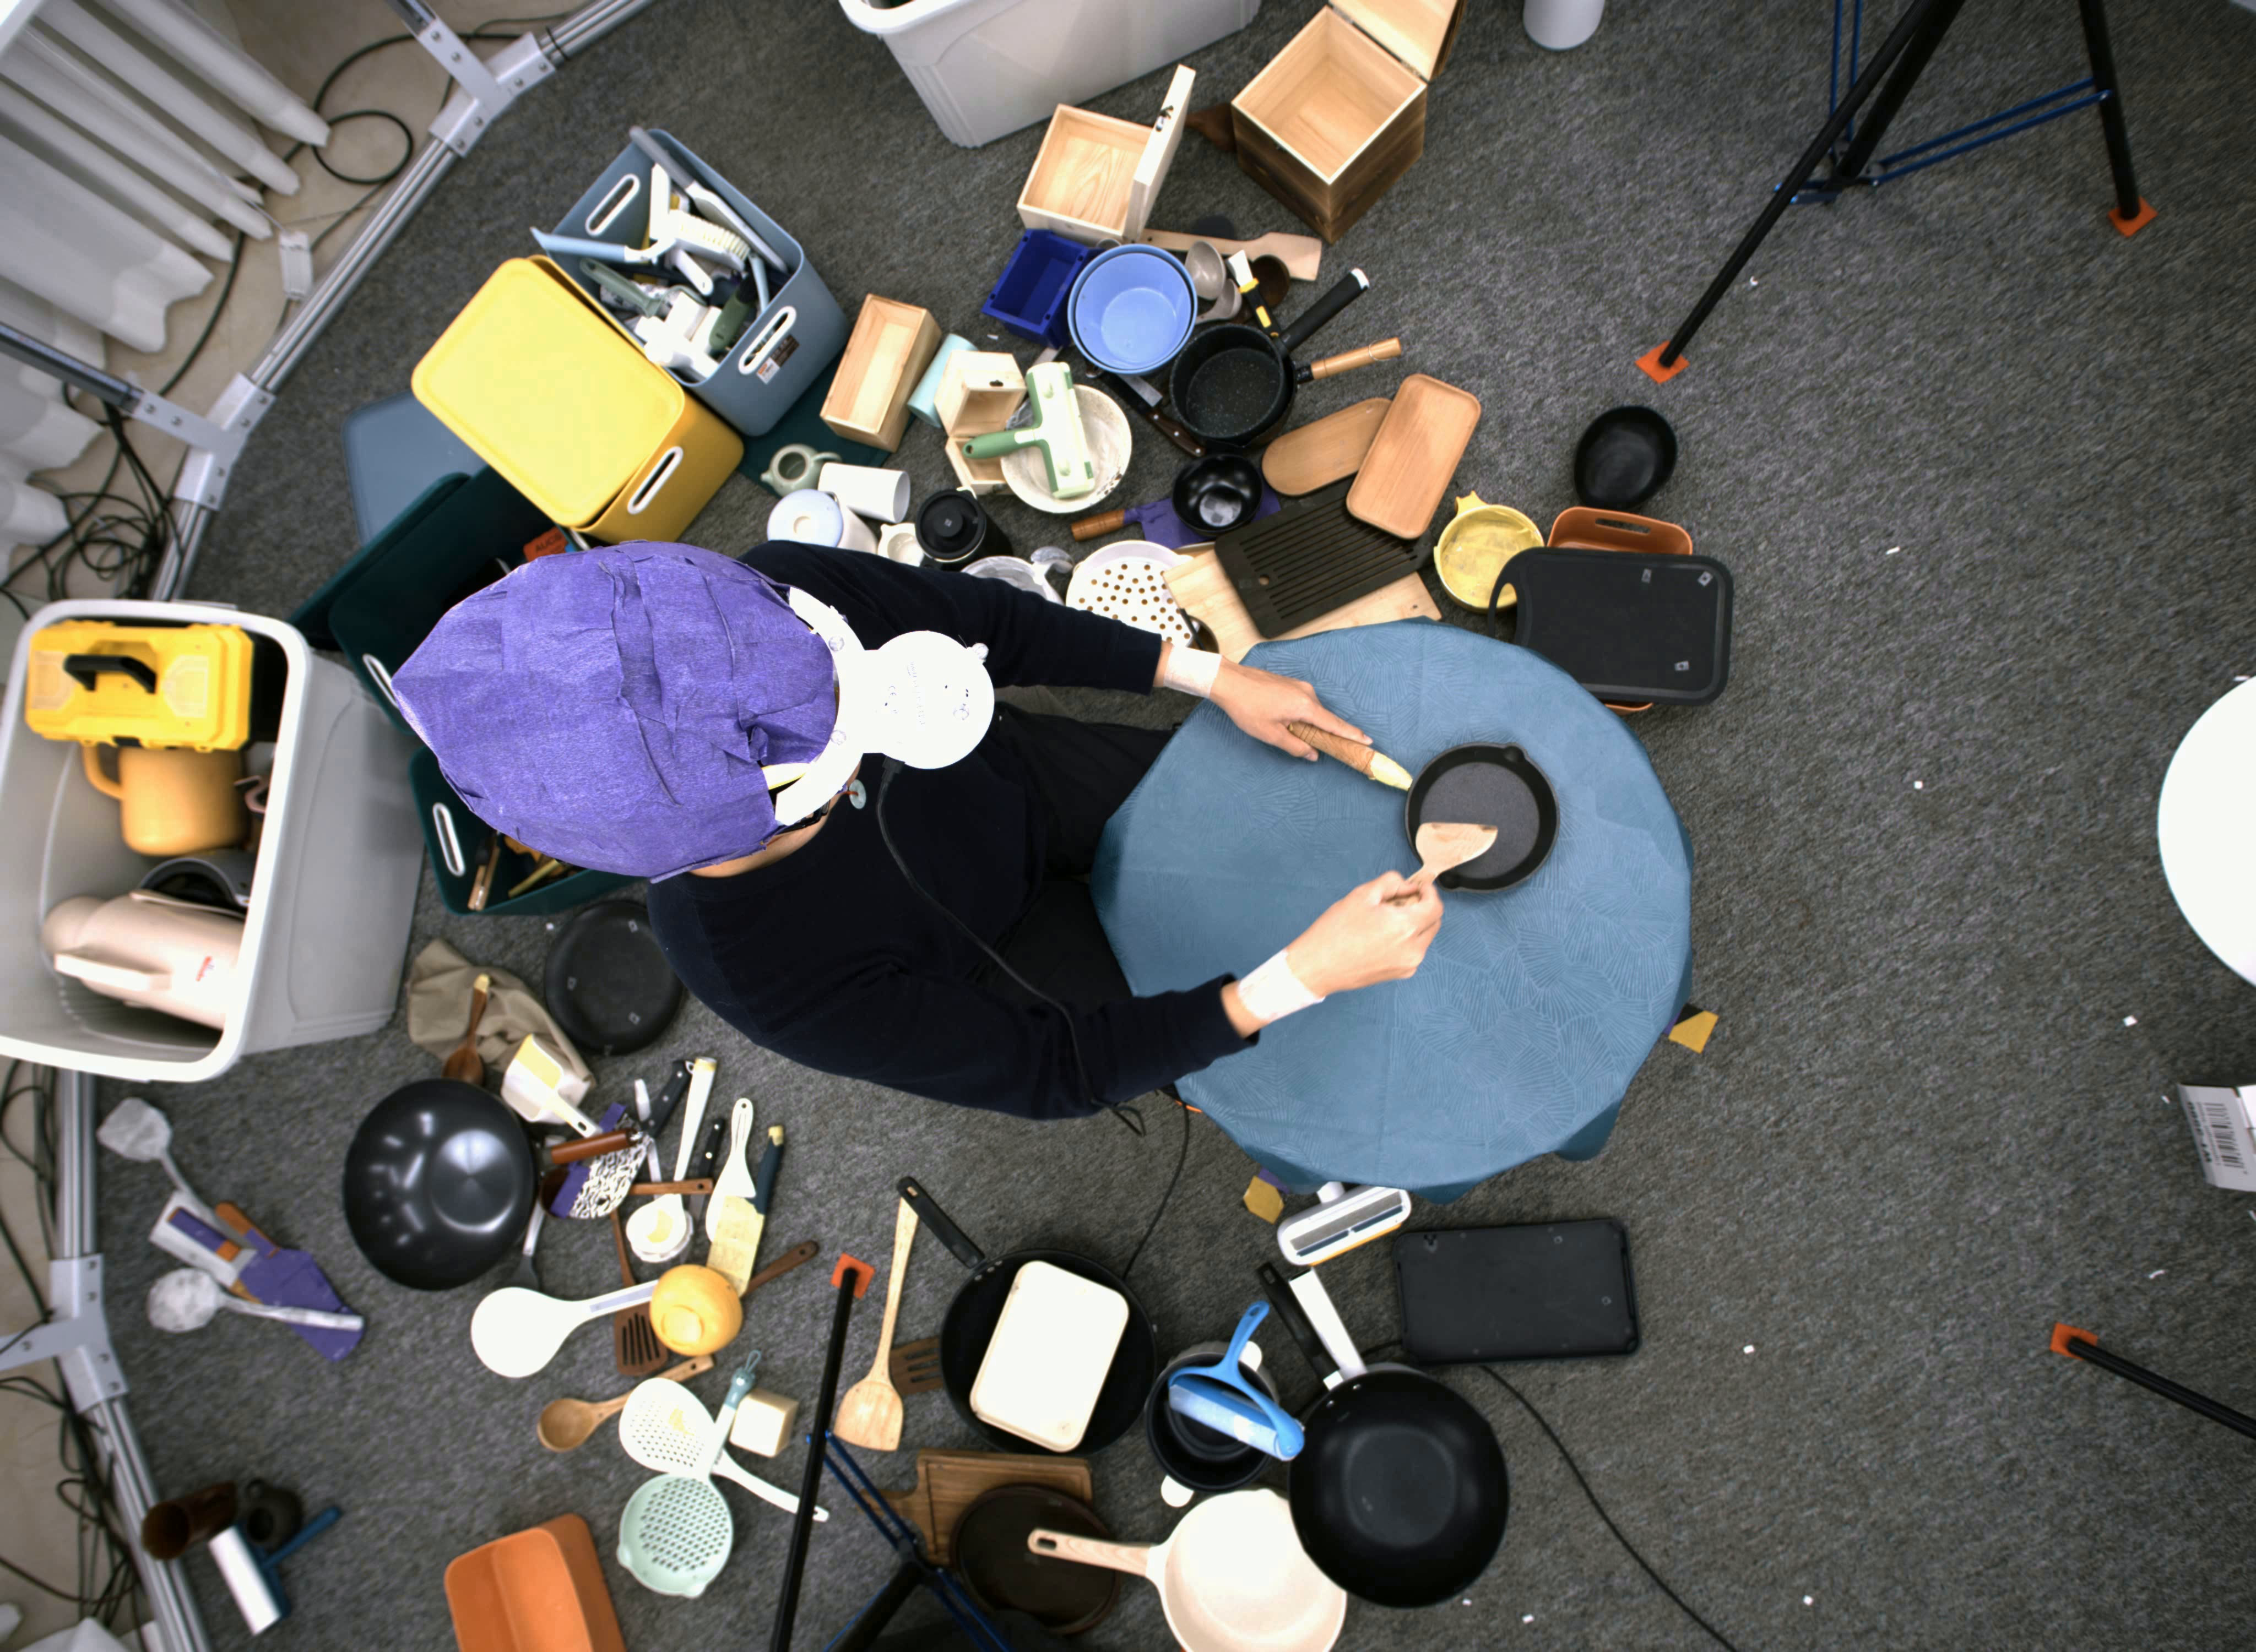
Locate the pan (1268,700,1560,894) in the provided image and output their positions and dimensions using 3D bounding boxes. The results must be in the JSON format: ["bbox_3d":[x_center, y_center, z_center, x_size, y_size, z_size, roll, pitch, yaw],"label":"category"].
[{"bbox_3d":[0.293,-0.050,1.437,0.323,0.049,0.169,30,93,9],"label":"pan"}]

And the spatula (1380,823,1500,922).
[{"bbox_3d":[0.282,0.036,1.280,0.080,0.322,0.017,6,105,23],"label":"spatula"}]
